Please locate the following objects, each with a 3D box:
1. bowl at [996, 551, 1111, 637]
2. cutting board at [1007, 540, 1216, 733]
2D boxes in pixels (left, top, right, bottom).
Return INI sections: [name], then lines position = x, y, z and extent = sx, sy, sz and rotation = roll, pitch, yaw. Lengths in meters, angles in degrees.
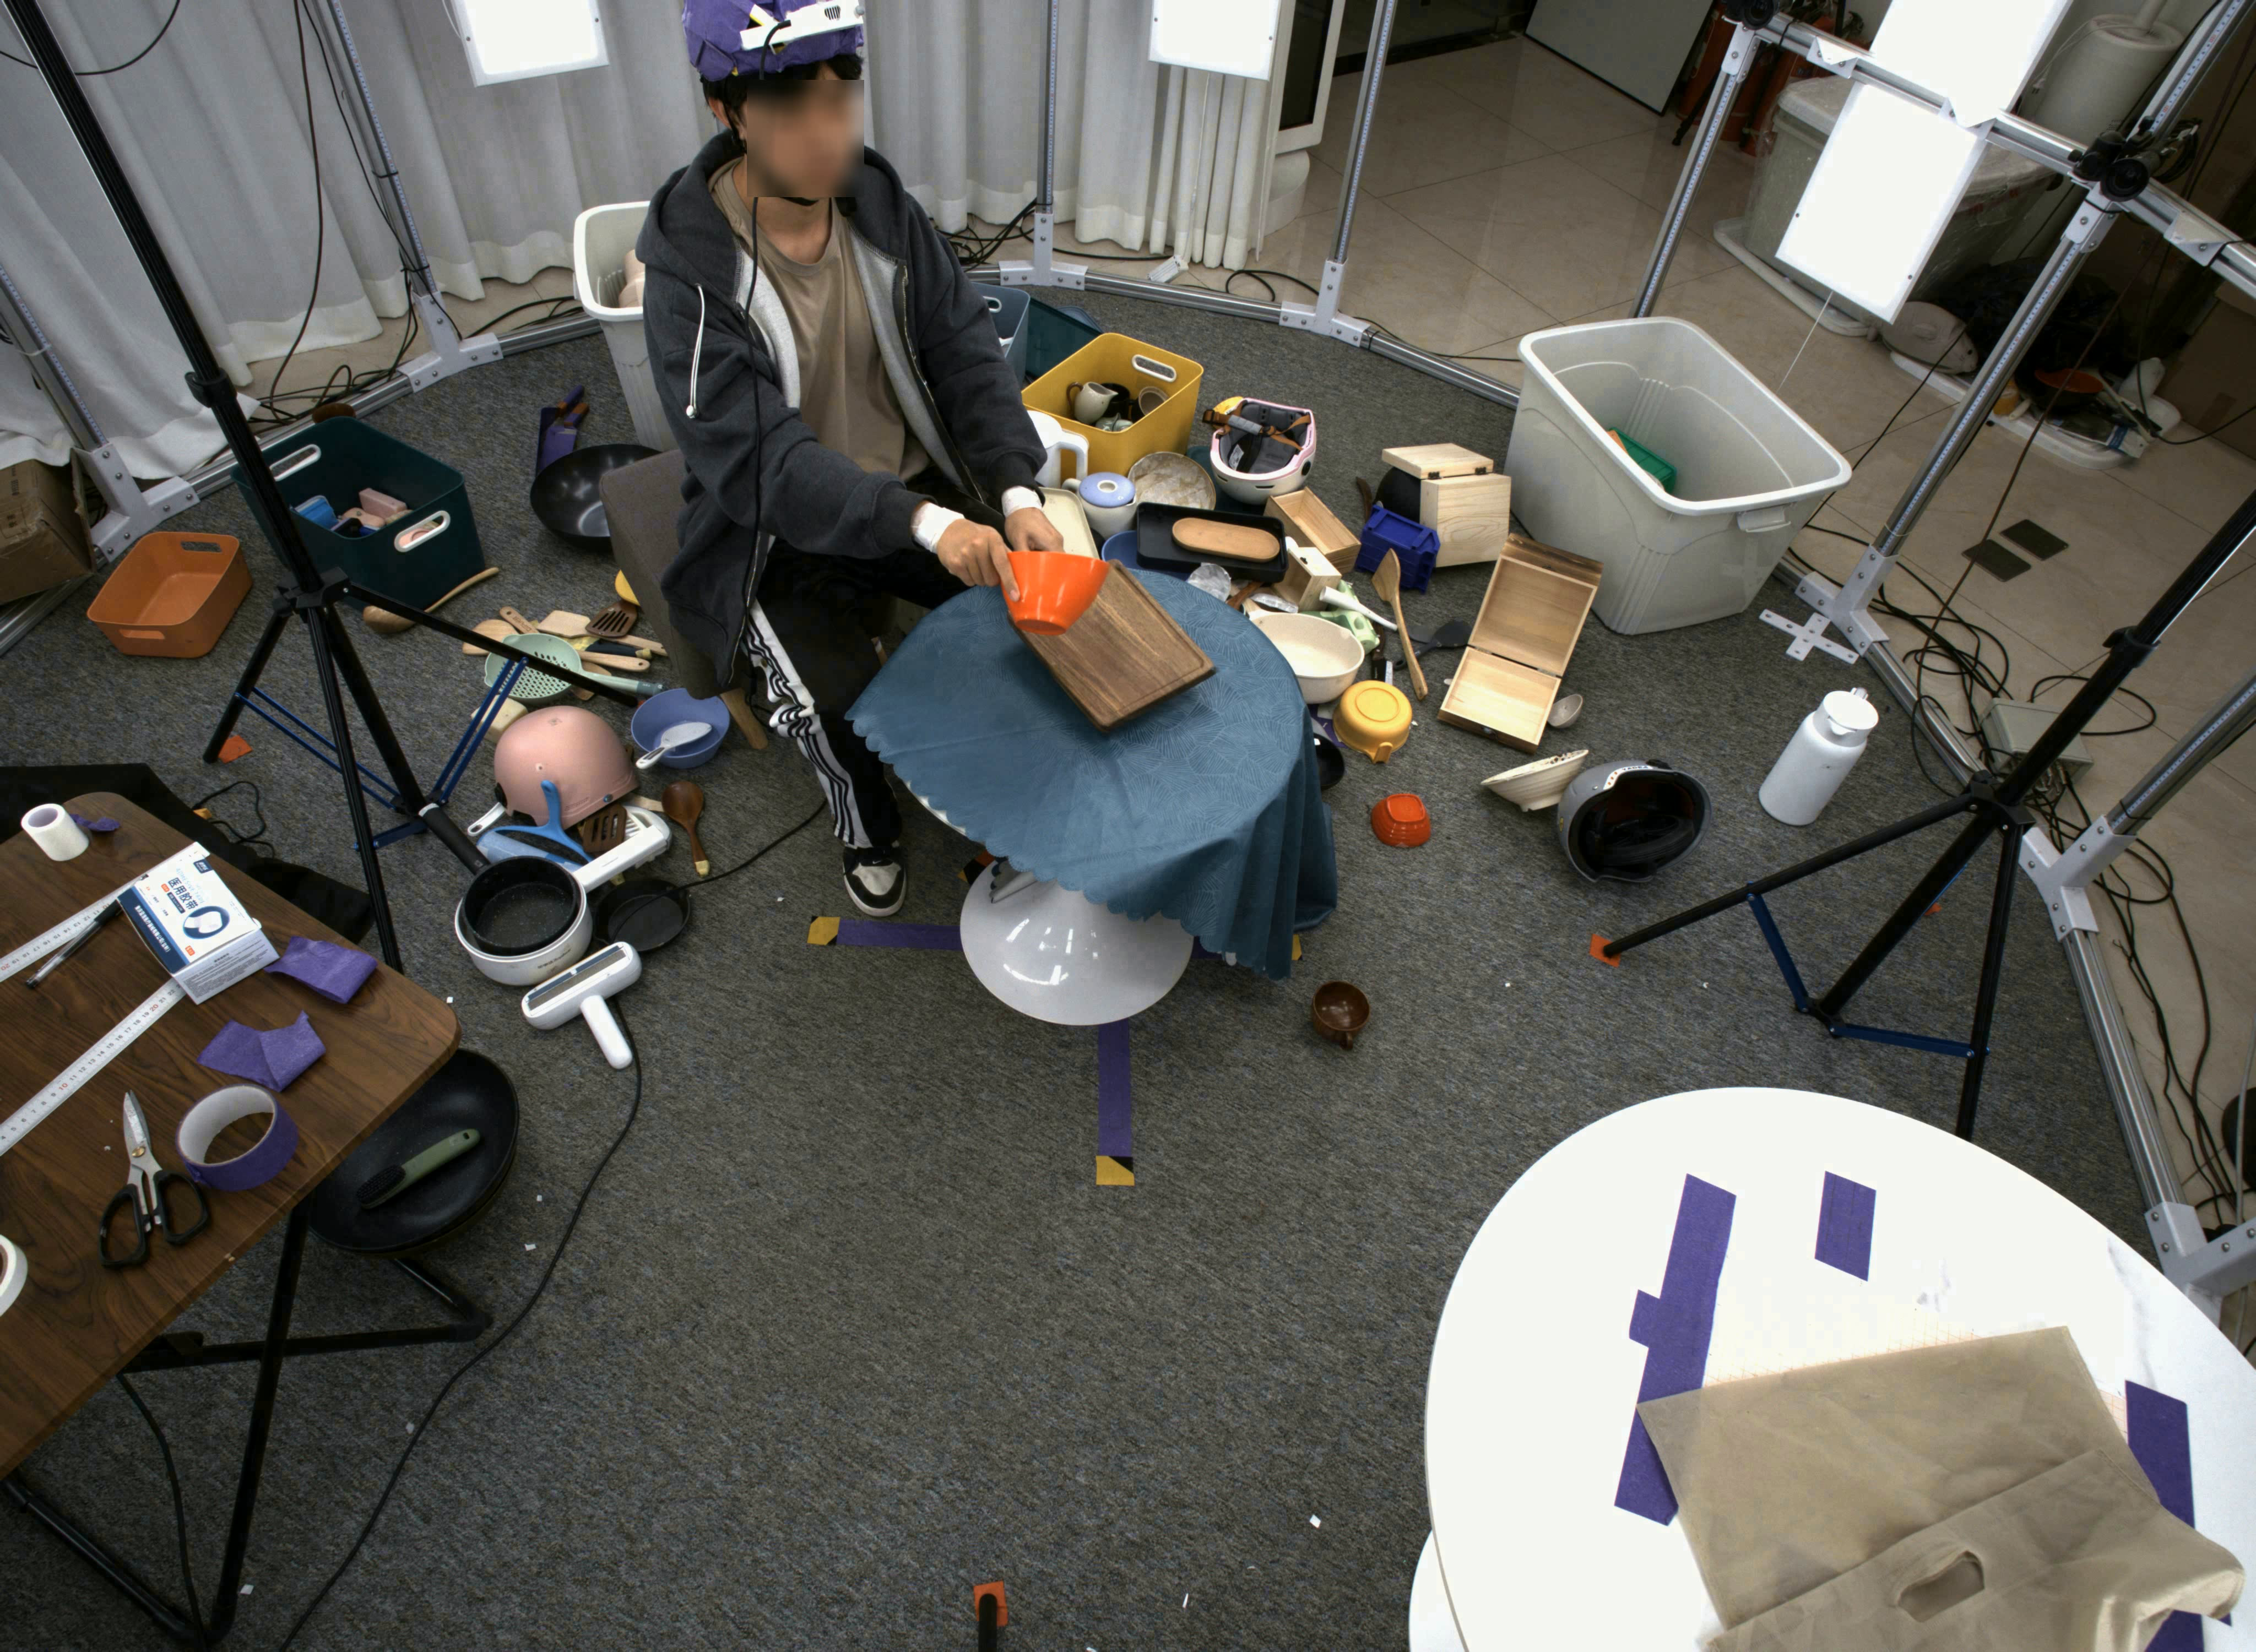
[bowl]
position = -0.101, -0.299, 1.652
extent = 0.148, 0.147, 0.105
rotation = 8, 83, 2
[cutting board]
position = -0.053, -0.297, 1.849
extent = 0.202, 0.022, 0.358
rotation = -29, 61, -20
